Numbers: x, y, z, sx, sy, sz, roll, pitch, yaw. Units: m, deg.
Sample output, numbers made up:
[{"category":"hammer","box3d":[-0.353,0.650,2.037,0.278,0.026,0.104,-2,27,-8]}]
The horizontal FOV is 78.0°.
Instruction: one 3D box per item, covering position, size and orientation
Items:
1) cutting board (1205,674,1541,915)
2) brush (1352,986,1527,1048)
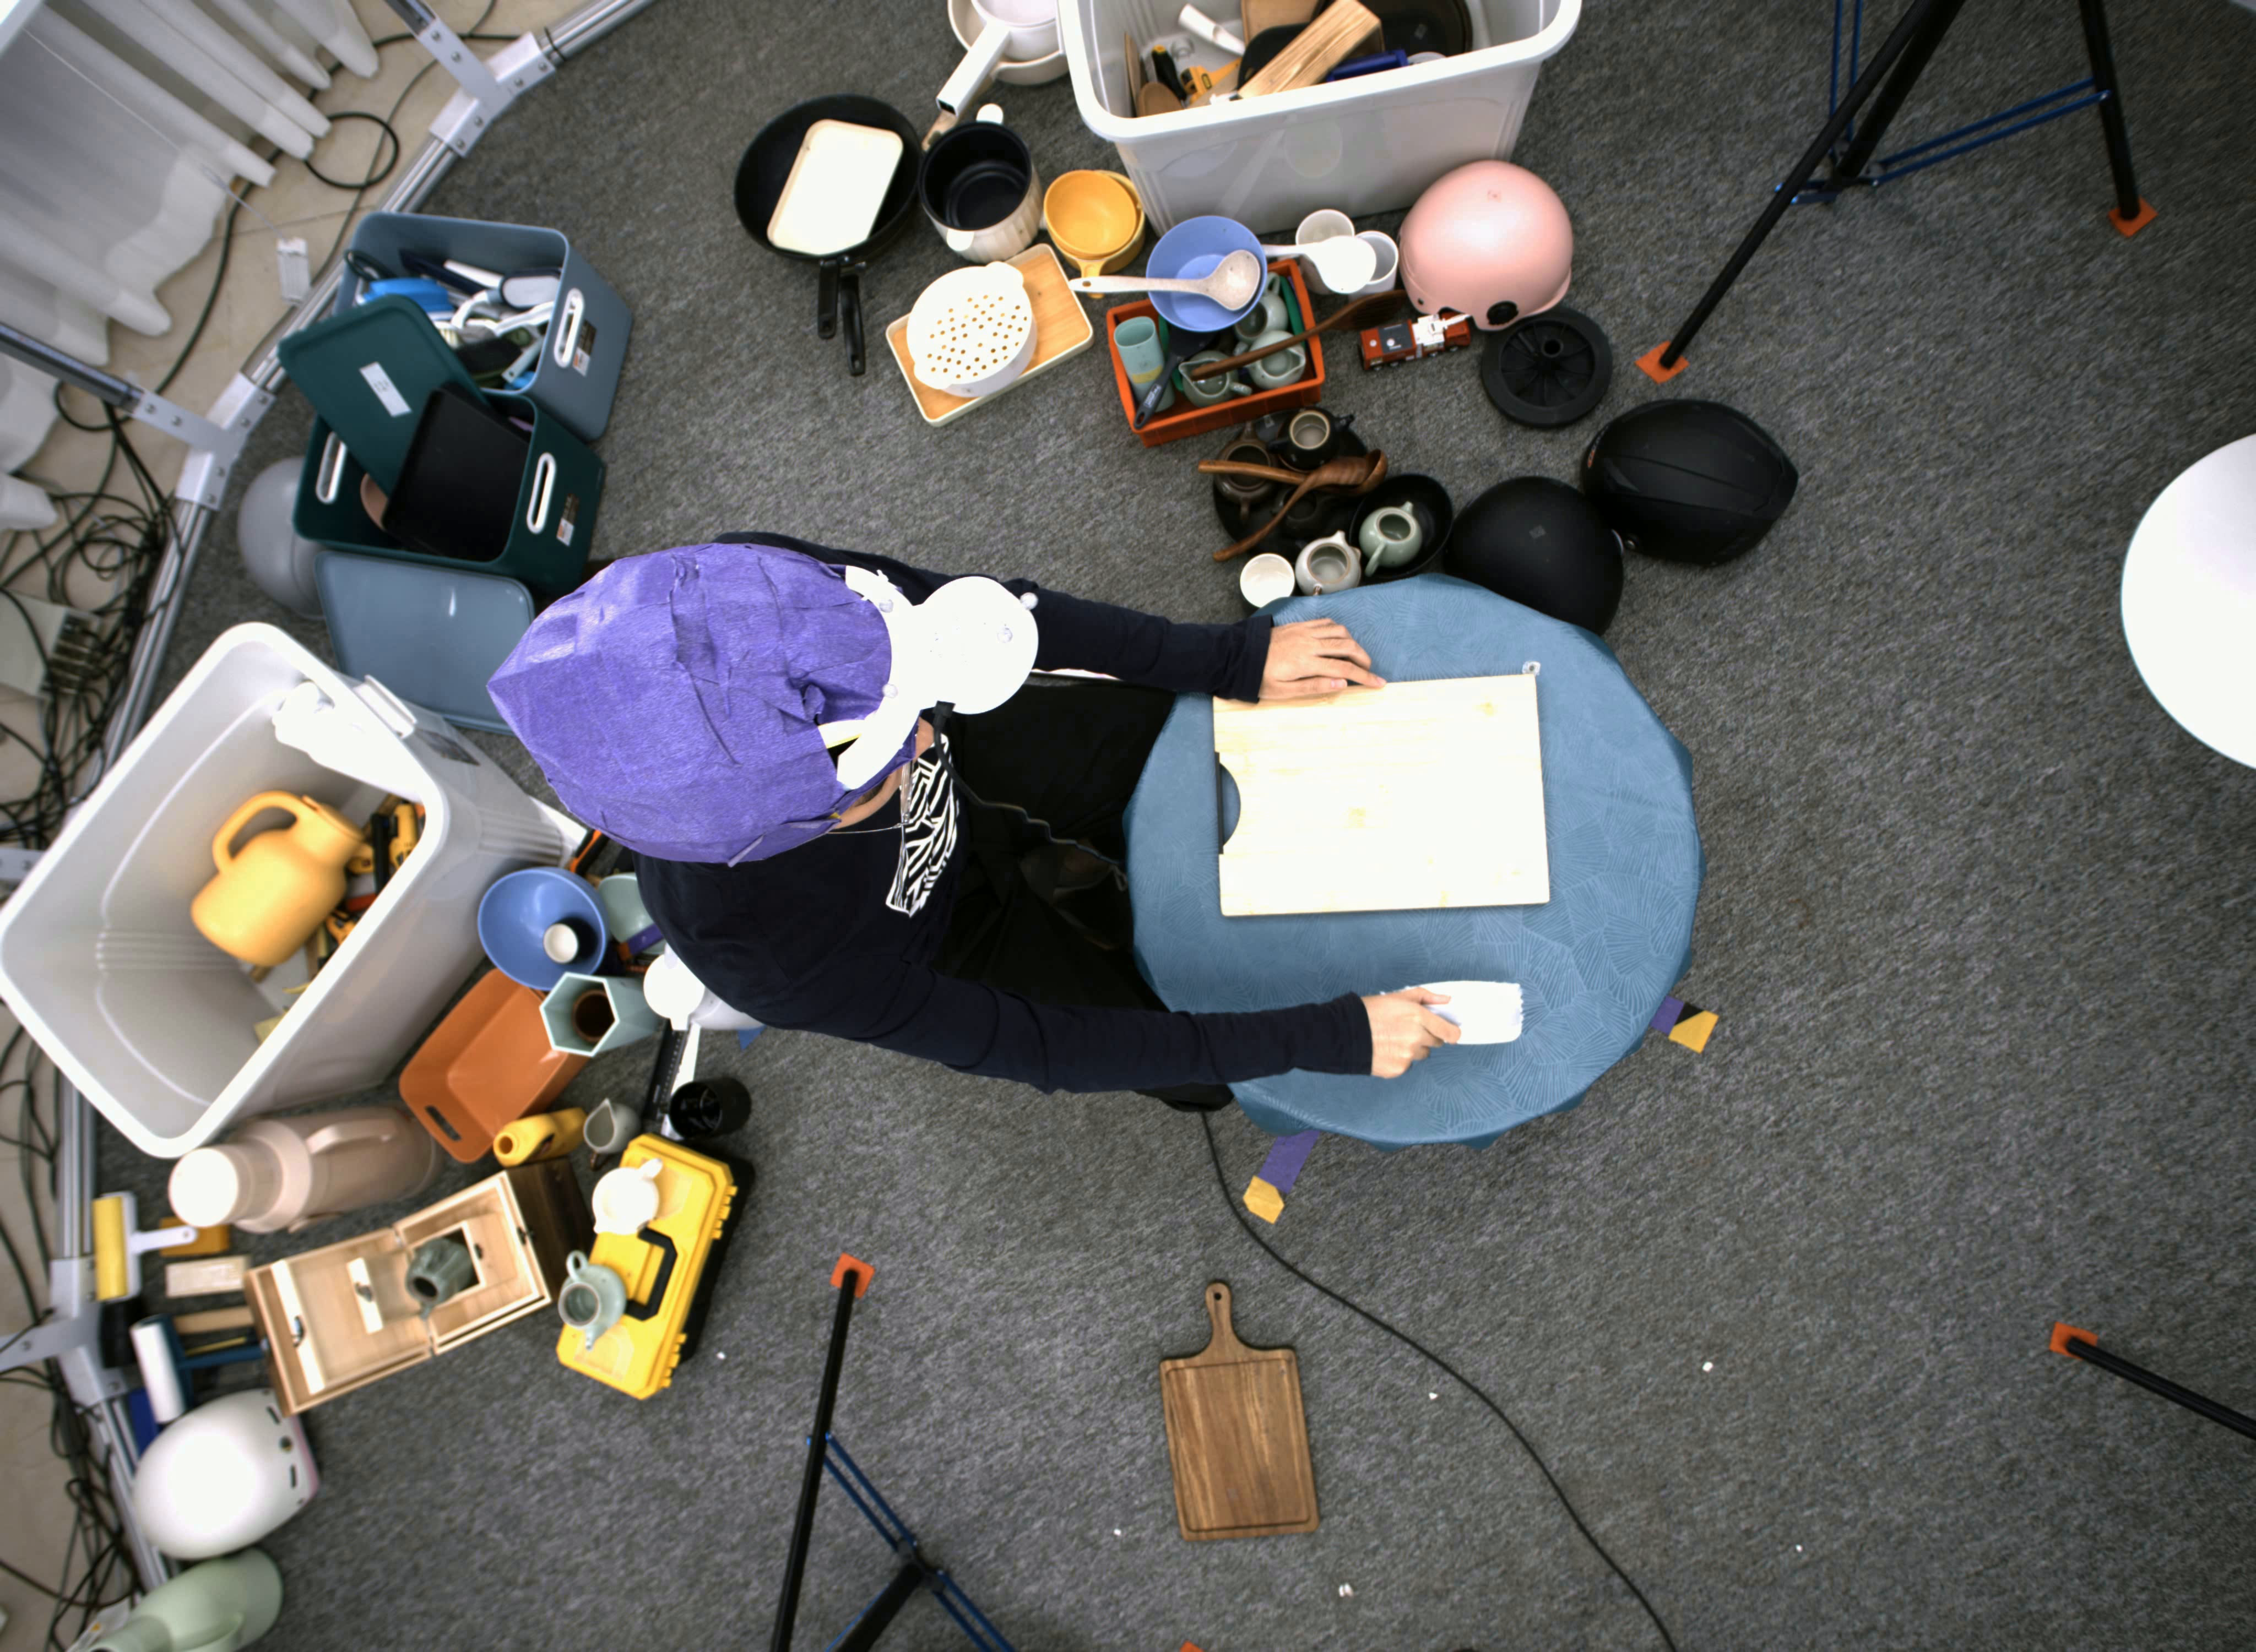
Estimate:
[{"category":"cutting board","box3d":[0.258,-0.033,1.458,0.350,0.023,0.249,-4,86,11]},{"category":"brush","box3d":[0.307,0.188,1.375,0.176,0.094,0.061,-1,88,17]}]
